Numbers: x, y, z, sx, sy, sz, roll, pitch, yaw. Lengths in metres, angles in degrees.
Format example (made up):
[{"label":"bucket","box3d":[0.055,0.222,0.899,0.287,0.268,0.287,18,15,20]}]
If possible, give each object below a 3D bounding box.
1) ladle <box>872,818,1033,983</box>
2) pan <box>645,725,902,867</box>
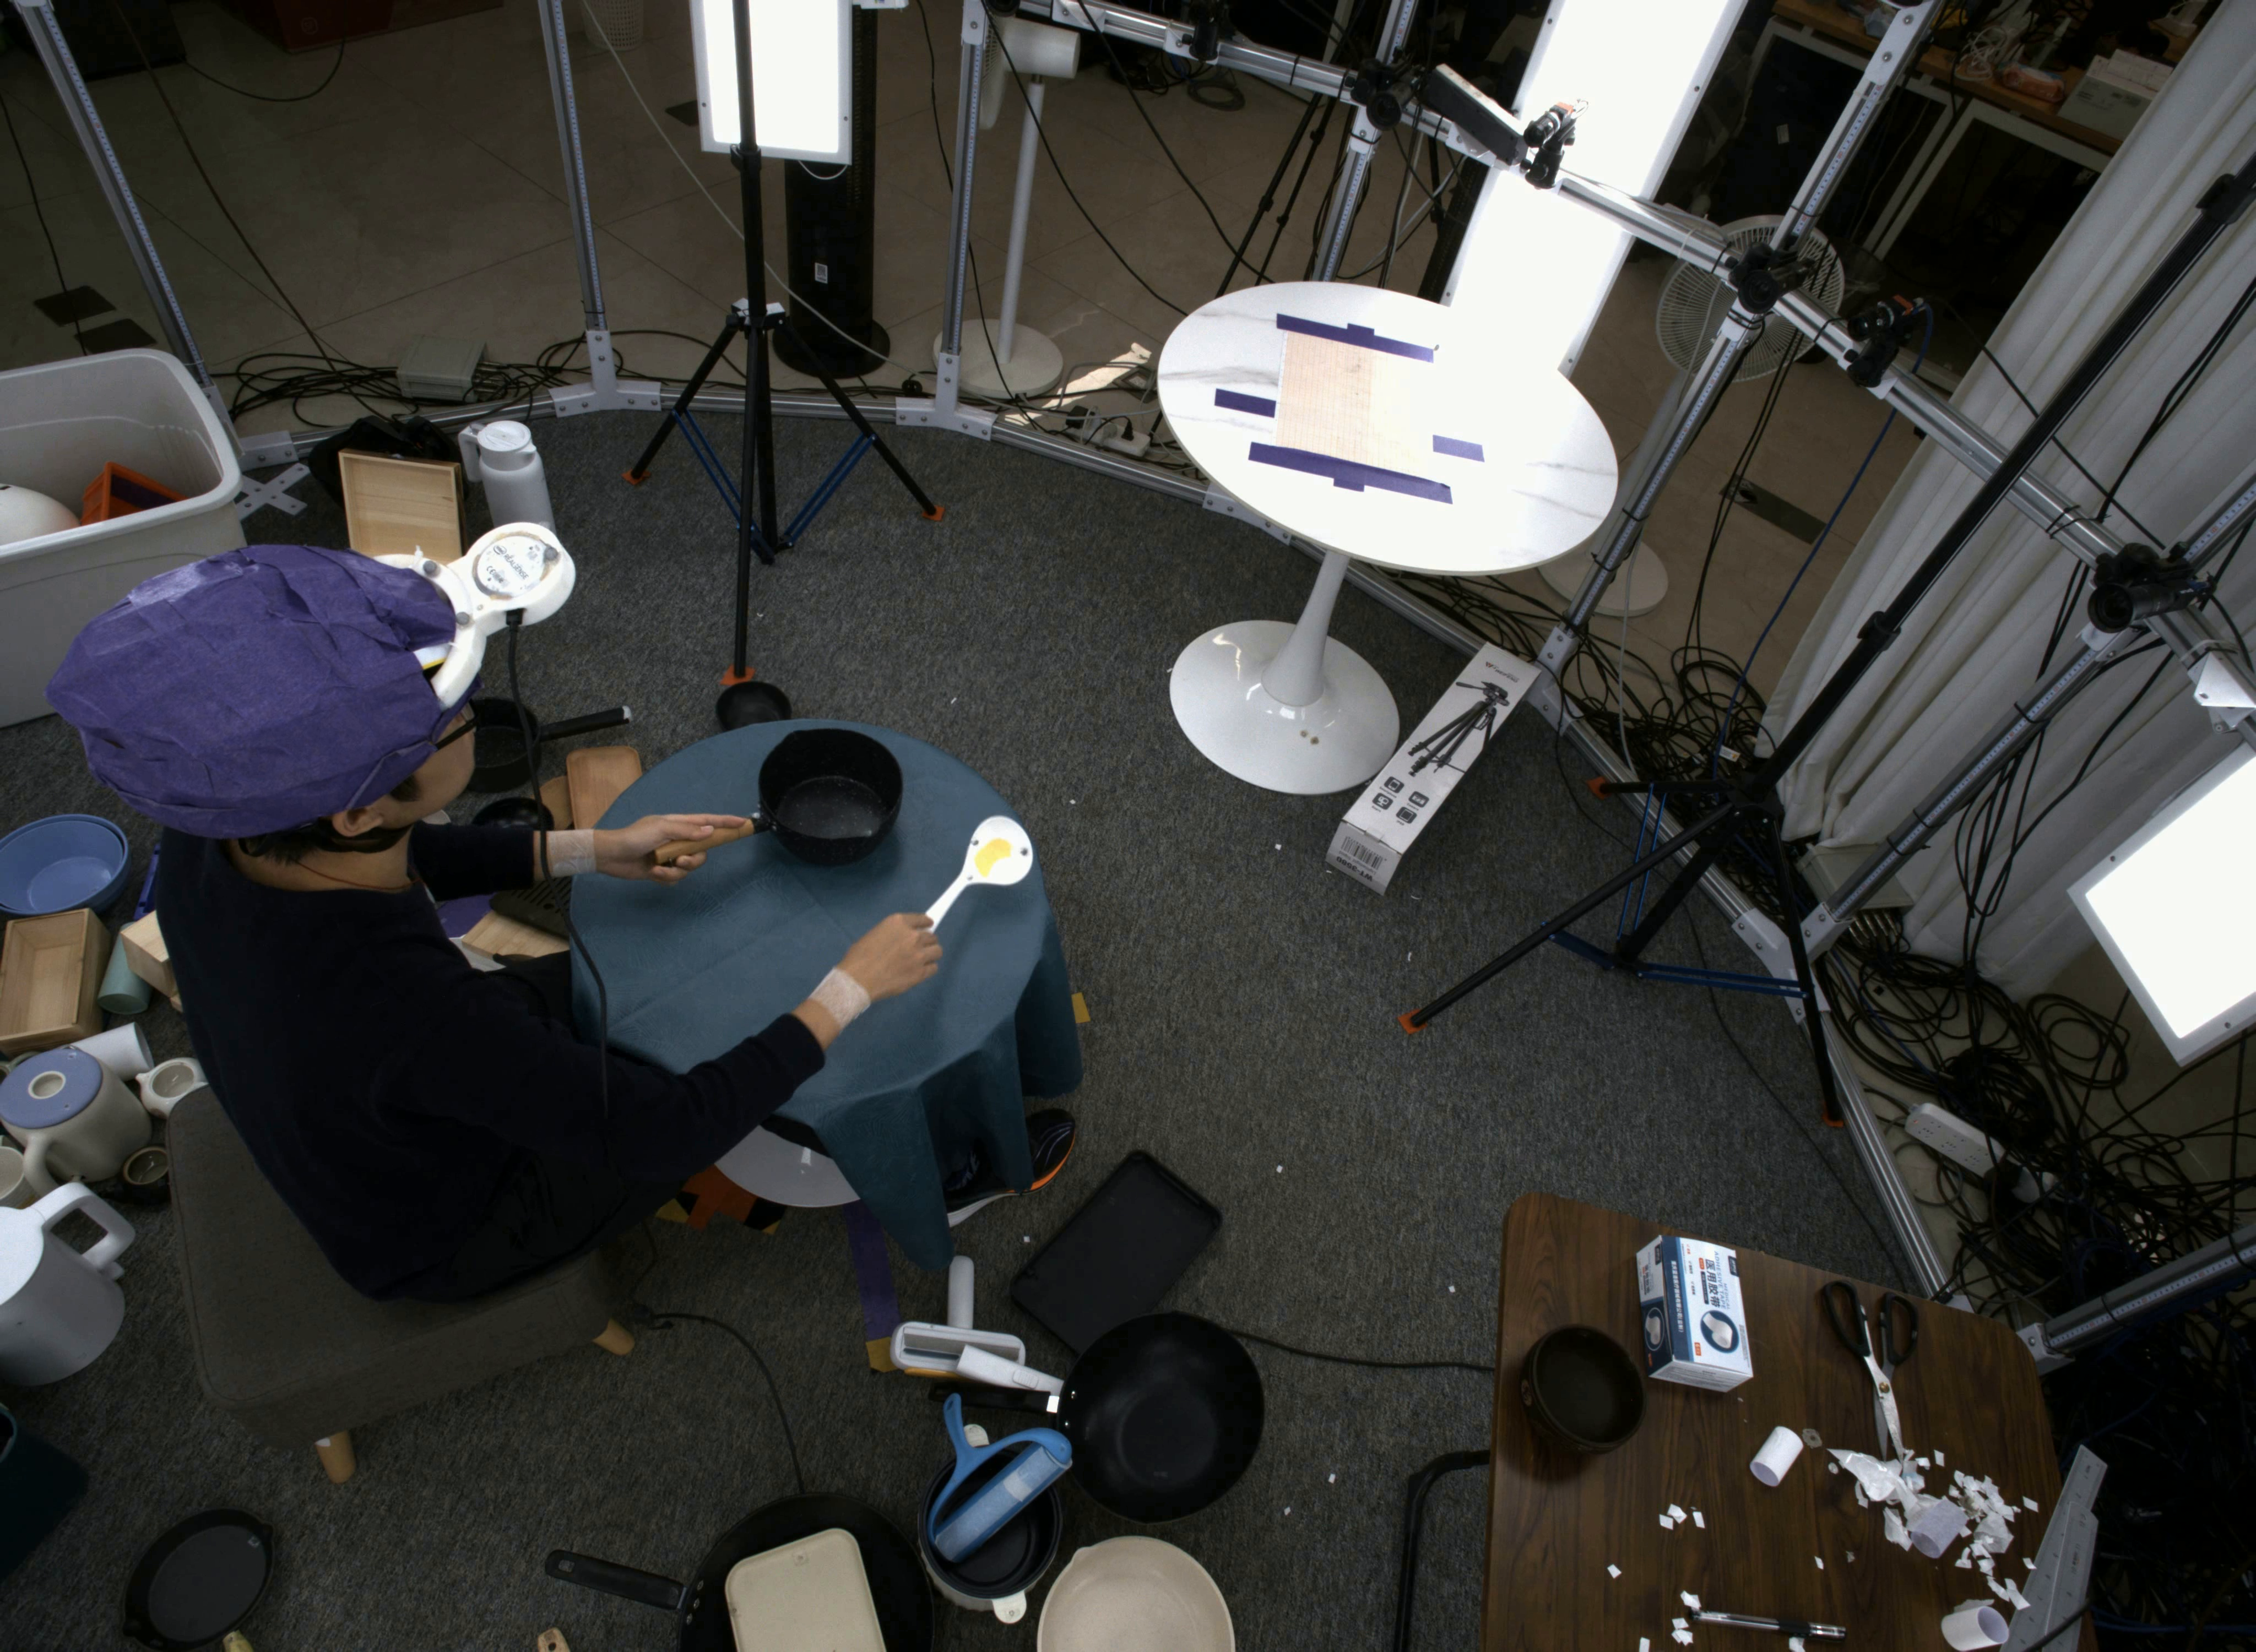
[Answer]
[{"label":"ladle","box3d":[-0.208,0.090,1.577,0.068,0.093,0.291,-11,24,29]},{"label":"pan","box3d":[-0.447,-0.007,1.643,0.344,0.110,0.203,-29,66,-32]}]
